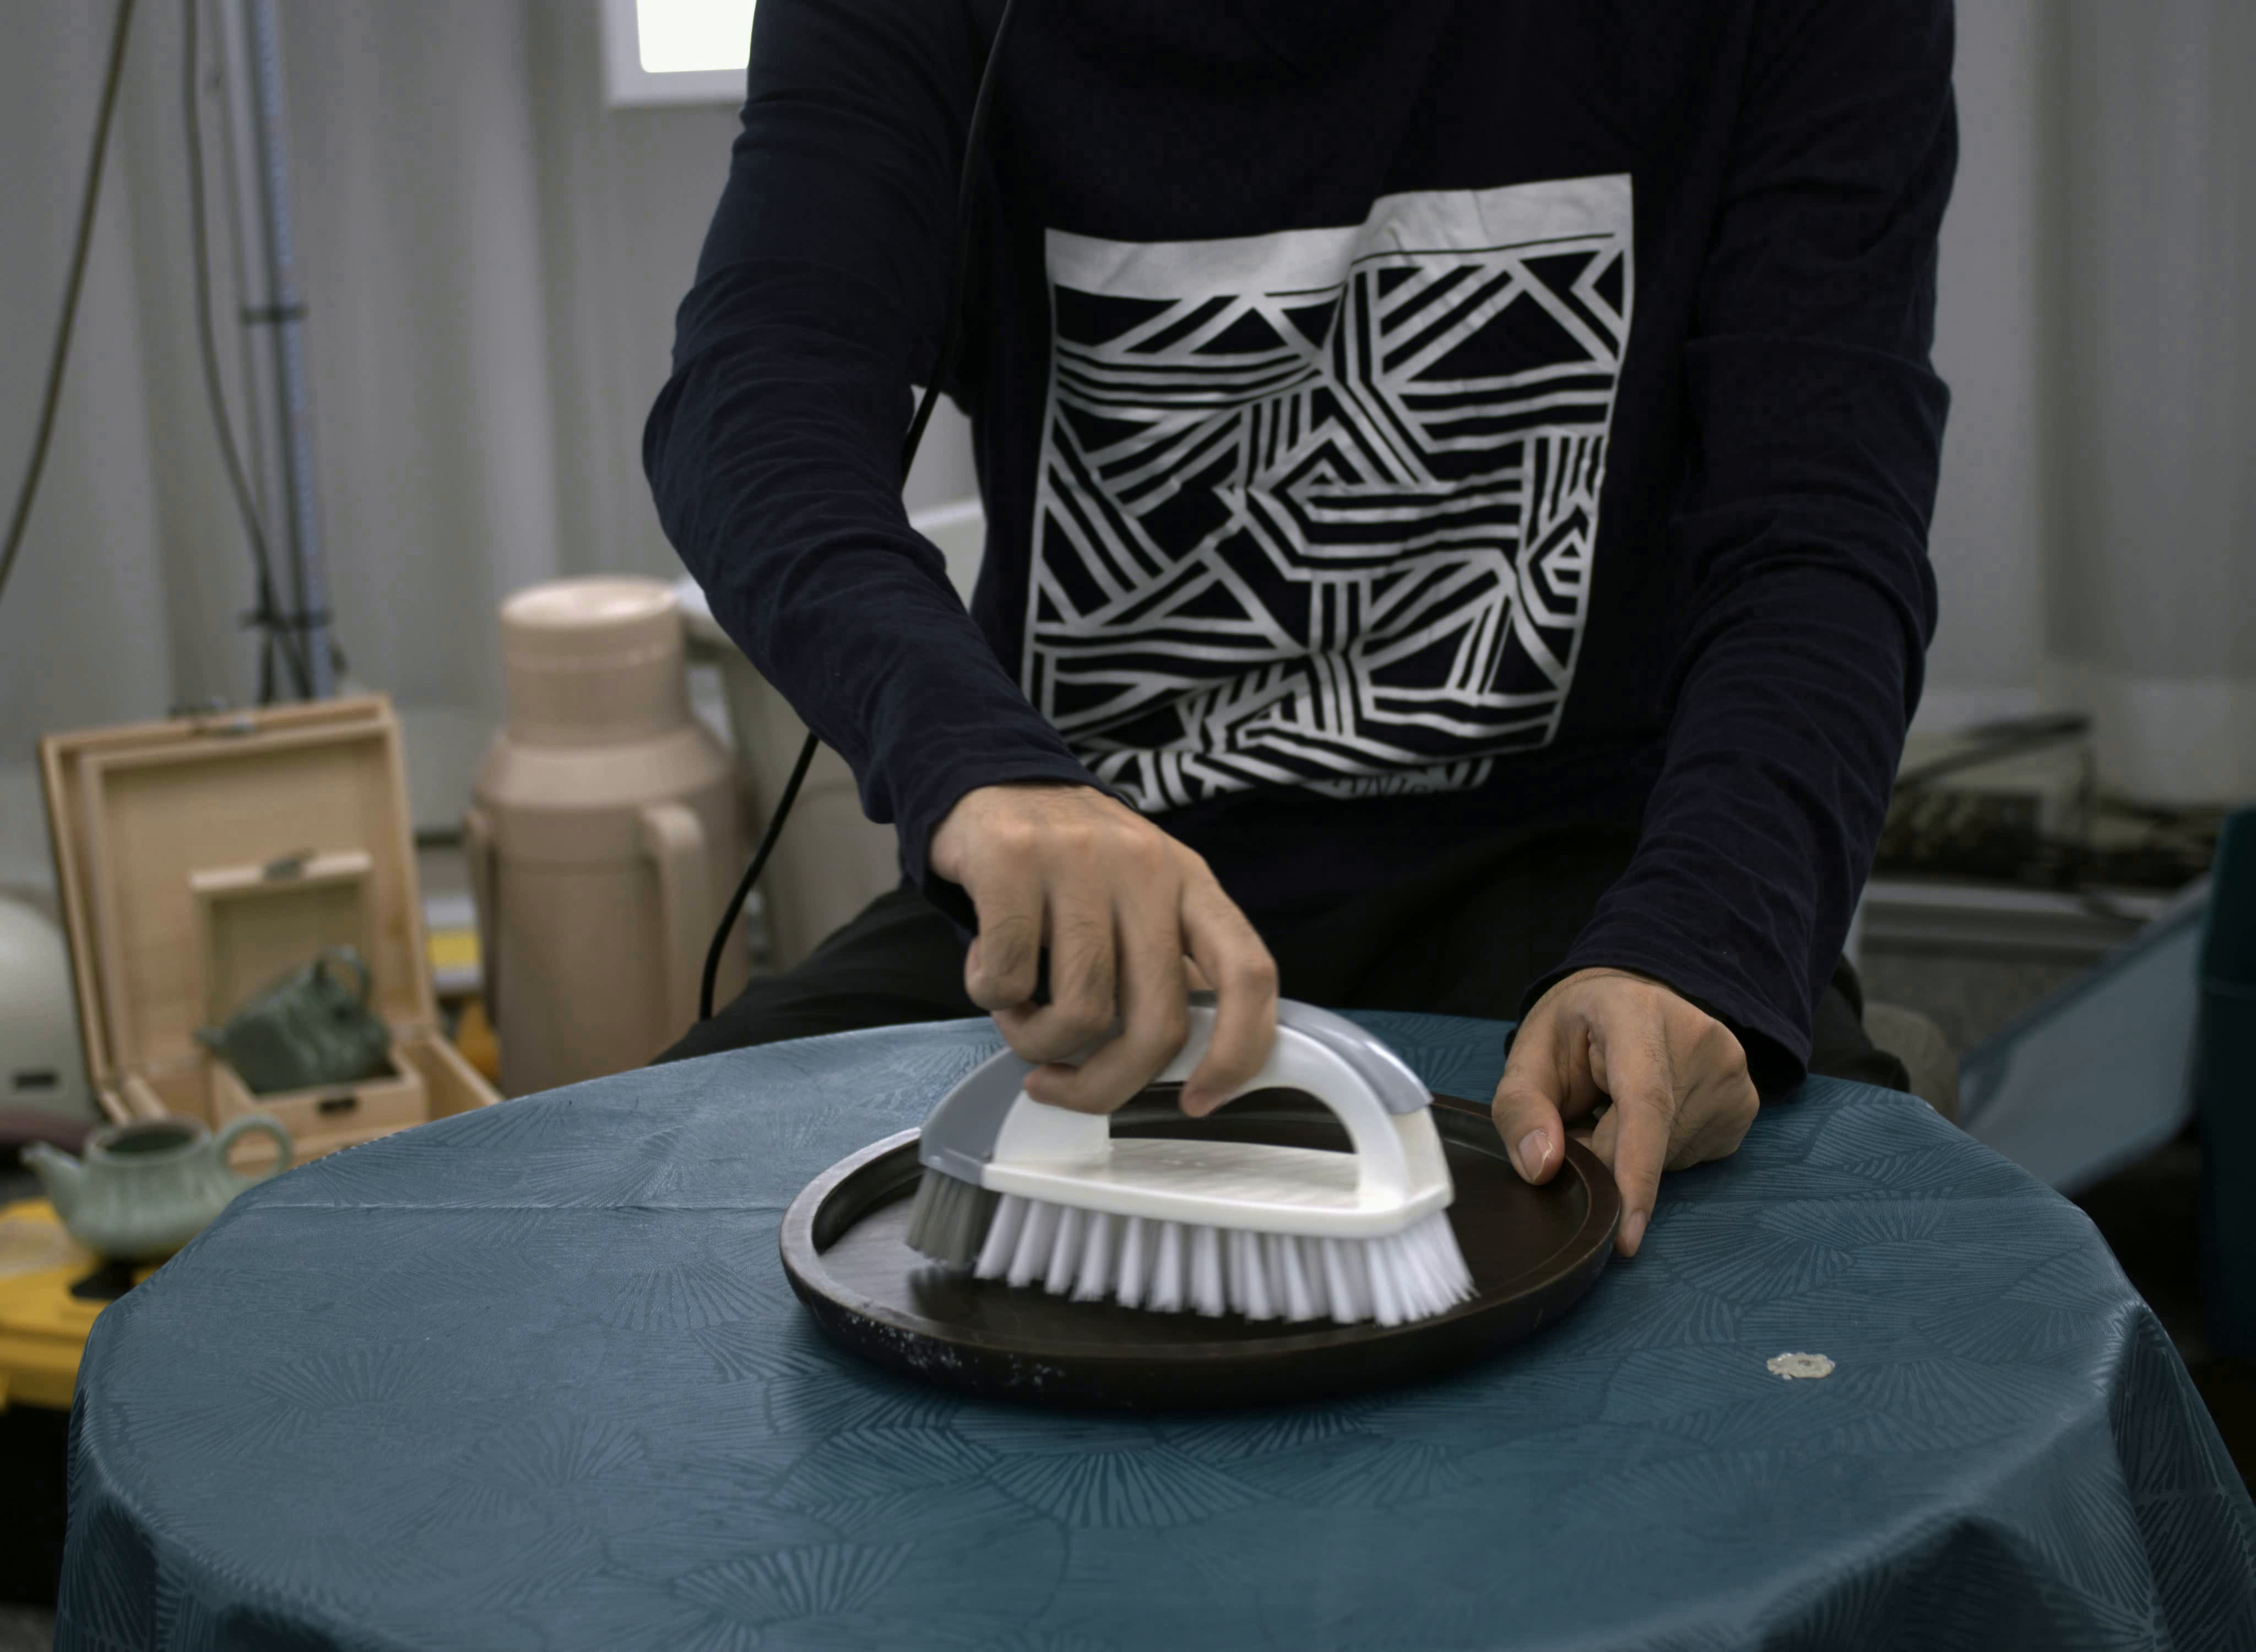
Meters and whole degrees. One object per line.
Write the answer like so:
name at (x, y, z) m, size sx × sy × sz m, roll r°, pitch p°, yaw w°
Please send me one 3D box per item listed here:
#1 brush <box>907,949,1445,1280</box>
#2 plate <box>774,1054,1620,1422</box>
brush at (0.005, 0.082, 1.574) m, size 0.176 × 0.094 × 0.061 m, roll 2°, pitch 12°, yaw 34°
plate at (0.020, 0.124, 1.634) m, size 0.254 × 0.029 × 0.257 m, roll -3°, pitch 16°, yaw 1°
